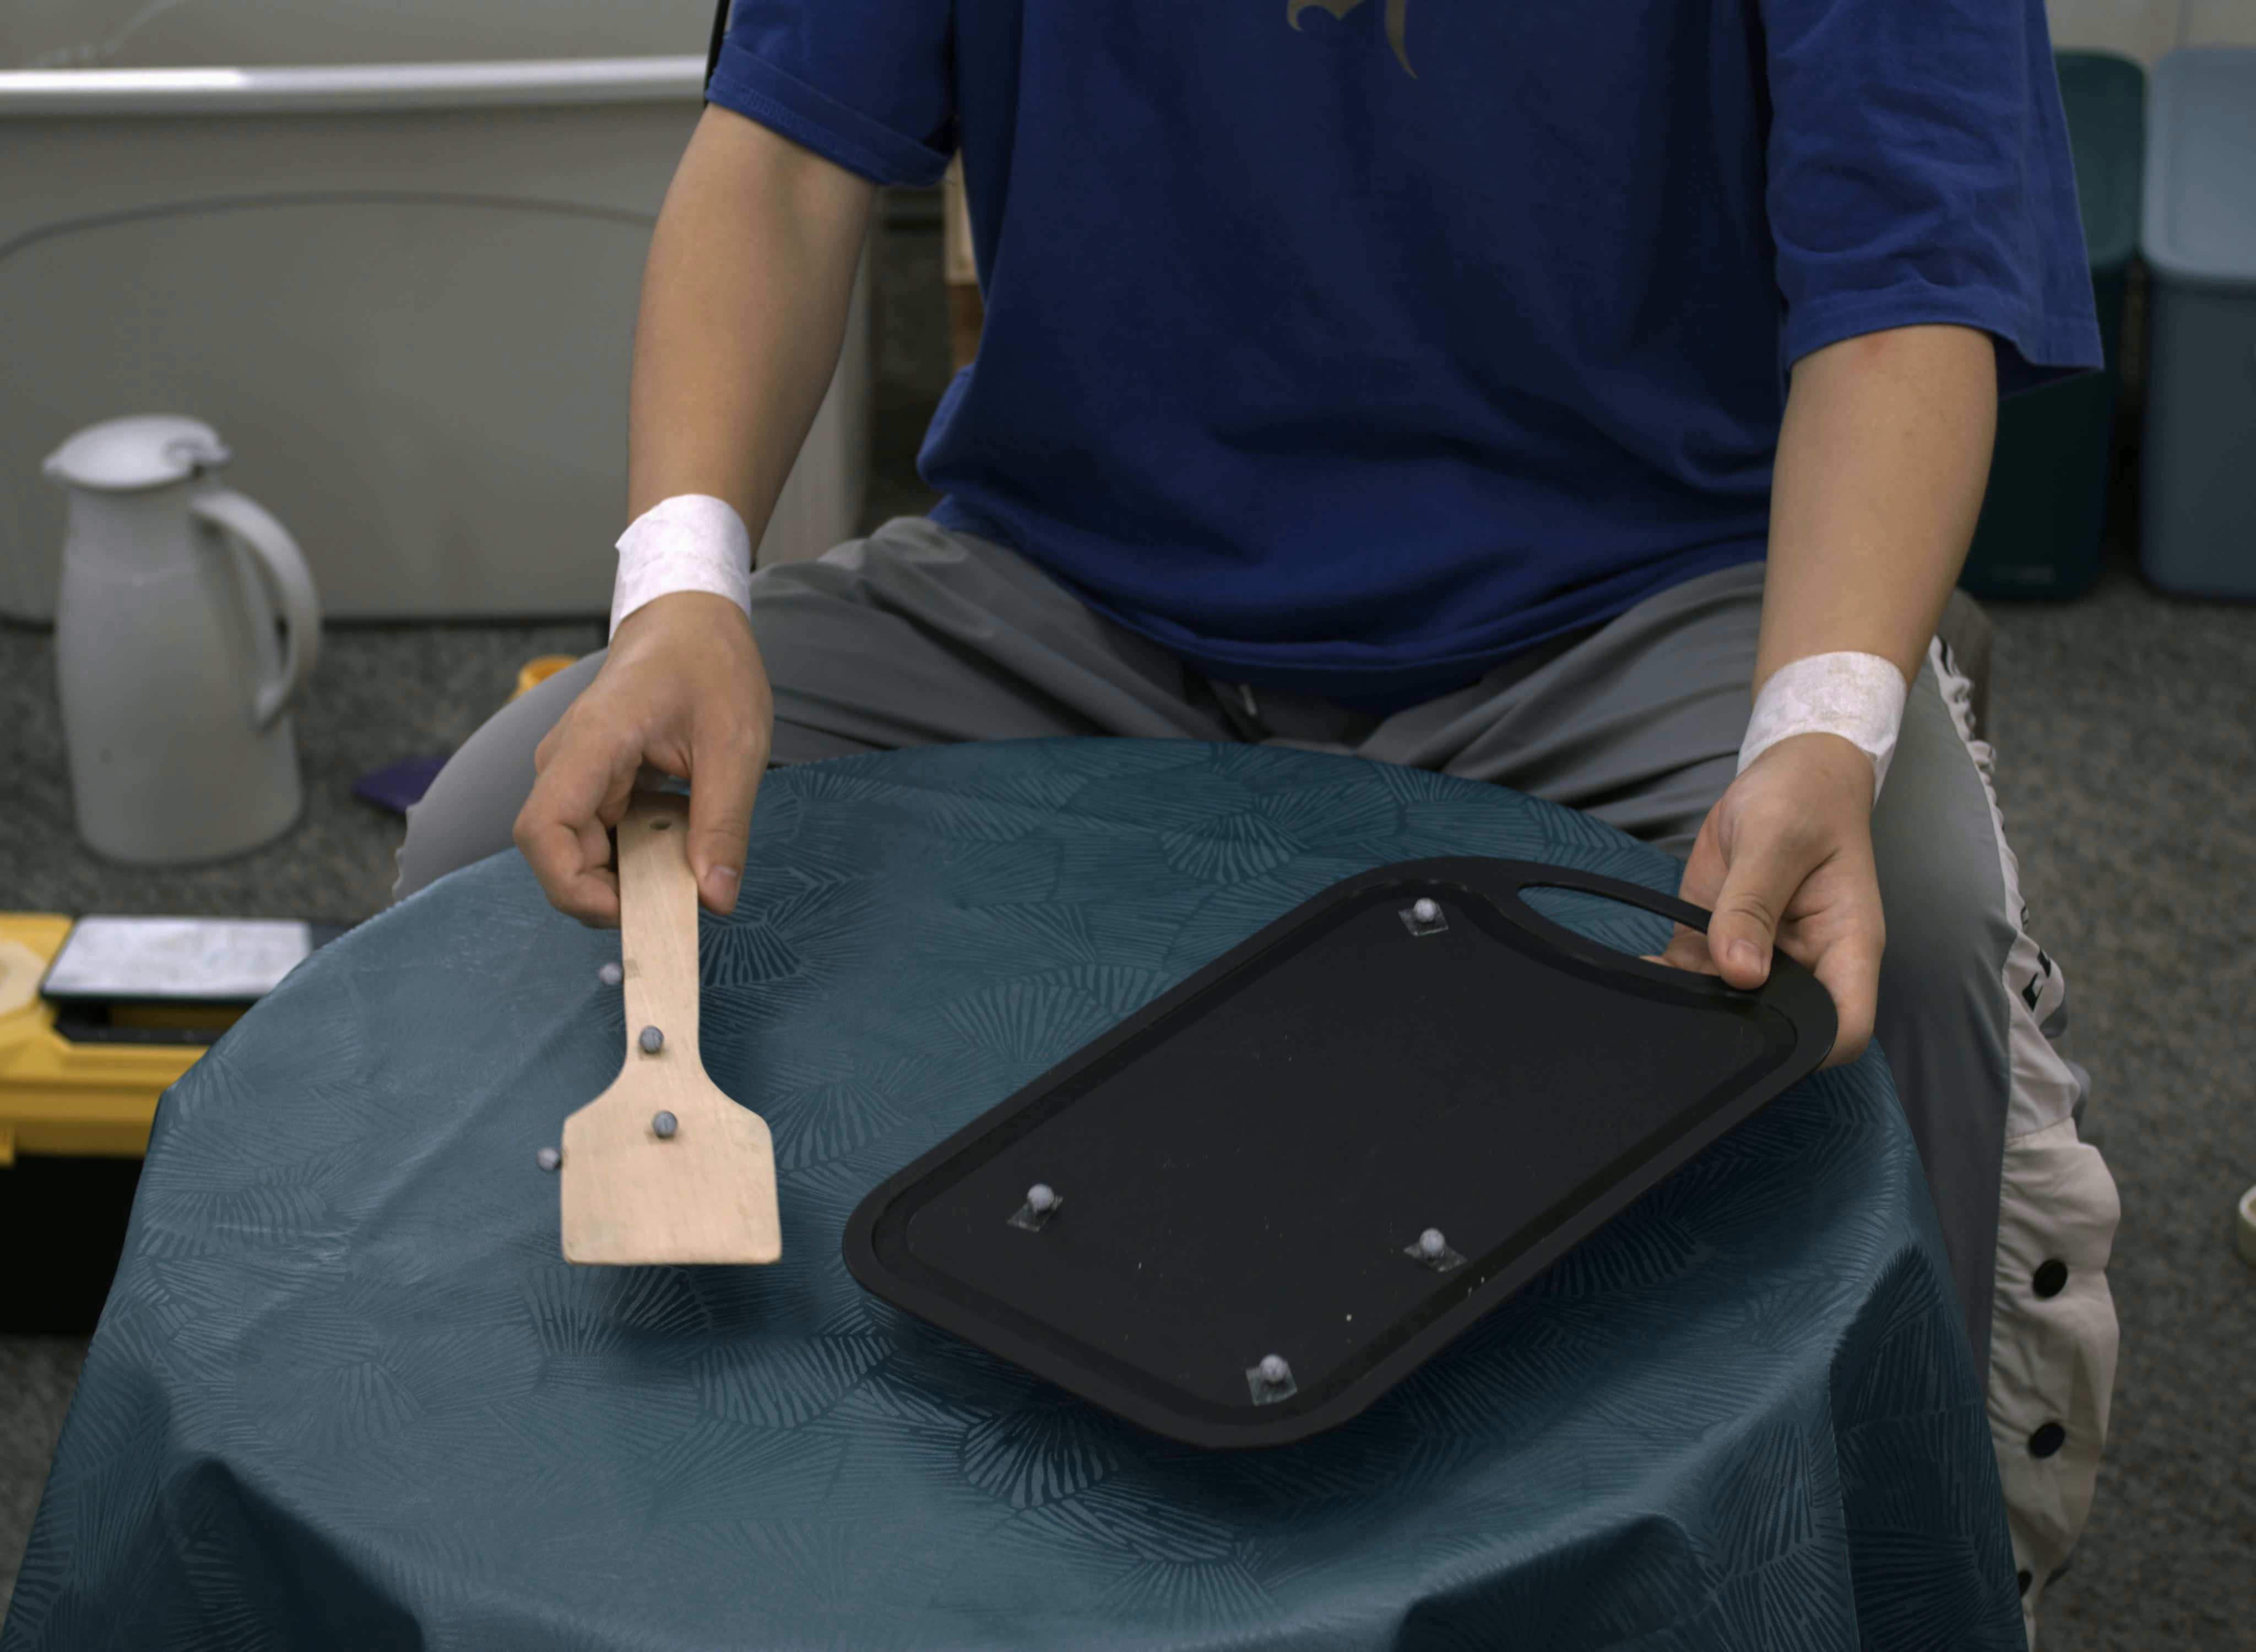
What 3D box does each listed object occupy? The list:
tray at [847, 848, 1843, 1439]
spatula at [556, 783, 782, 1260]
[{"bbox_3d":[0.076,0.090,1.814,0.210,0.009,0.329,21,40,40],"label":"tray"},{"bbox_3d":[-0.158,0.063,1.903,0.072,0.010,0.297,0,31,-6],"label":"spatula"}]
